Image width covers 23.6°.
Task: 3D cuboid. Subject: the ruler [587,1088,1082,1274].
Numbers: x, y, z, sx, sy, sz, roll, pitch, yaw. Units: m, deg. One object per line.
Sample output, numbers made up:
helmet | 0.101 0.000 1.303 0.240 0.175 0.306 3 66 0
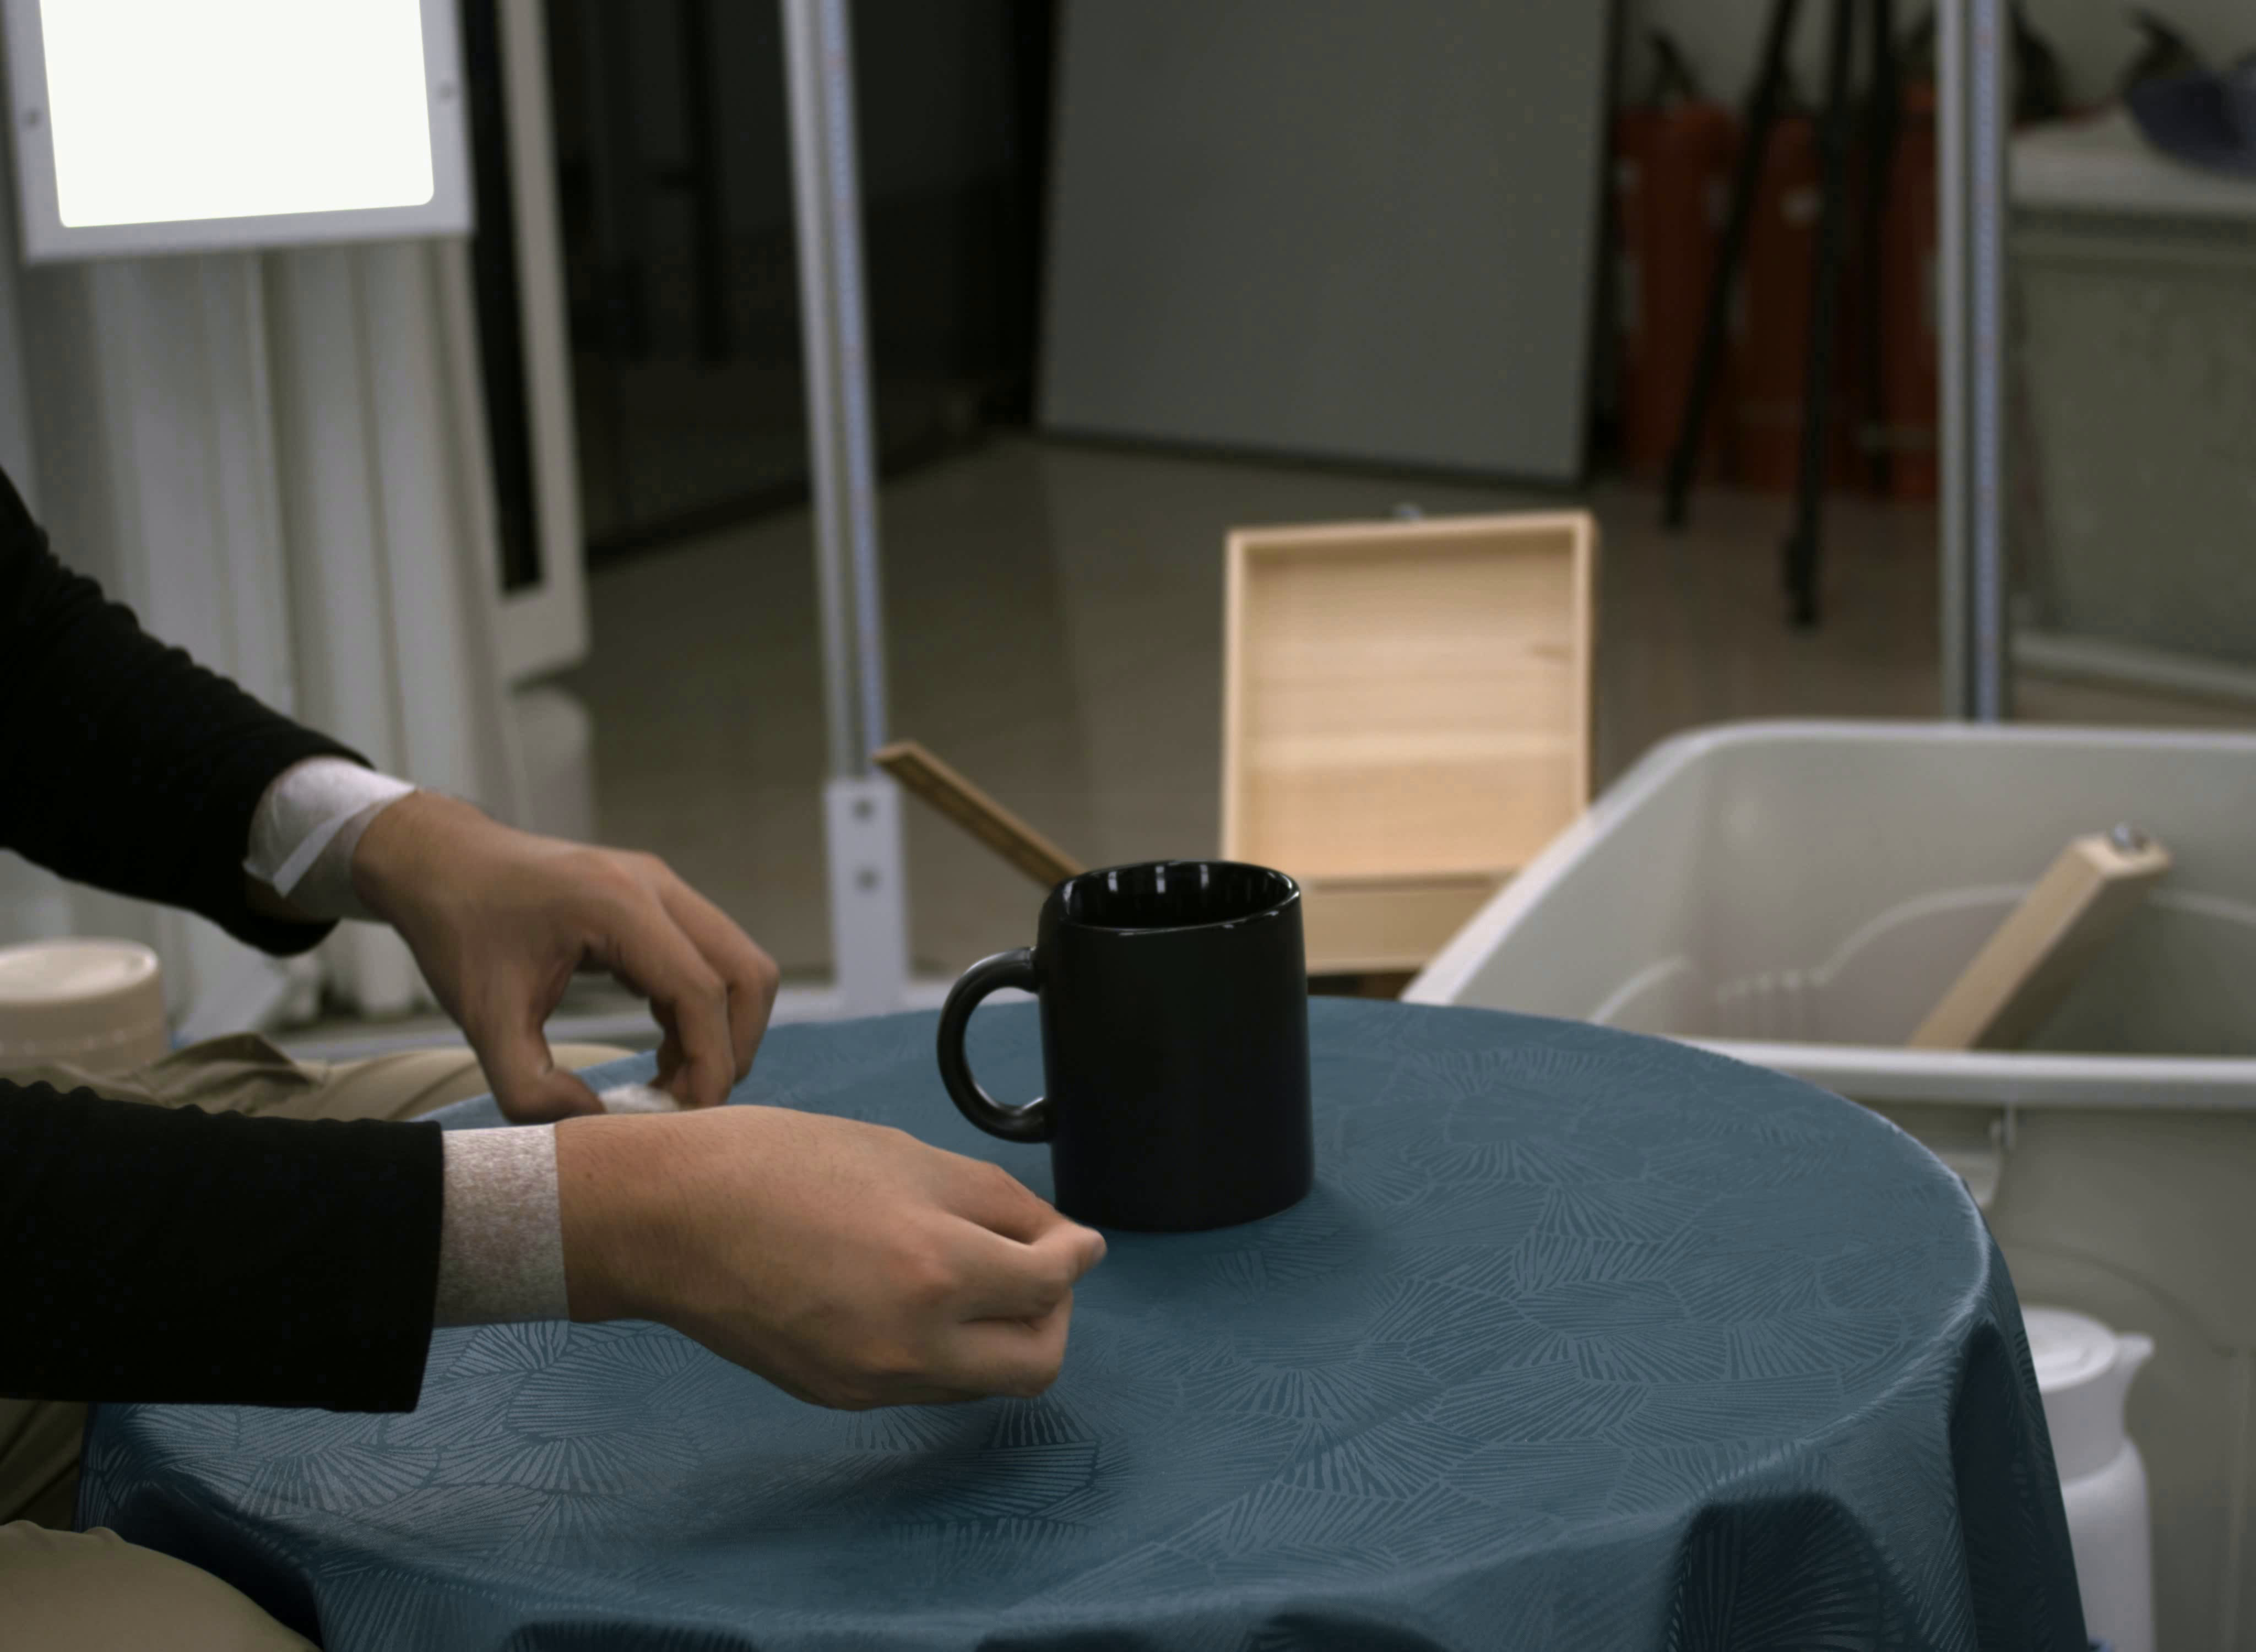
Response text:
ruler | -0.100 0.109 1.707 0.027 0.022 0.335 -10 9 -26

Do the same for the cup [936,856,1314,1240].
cup | -0.002 0.072 1.756 0.122 0.106 0.088 -3 15 9
